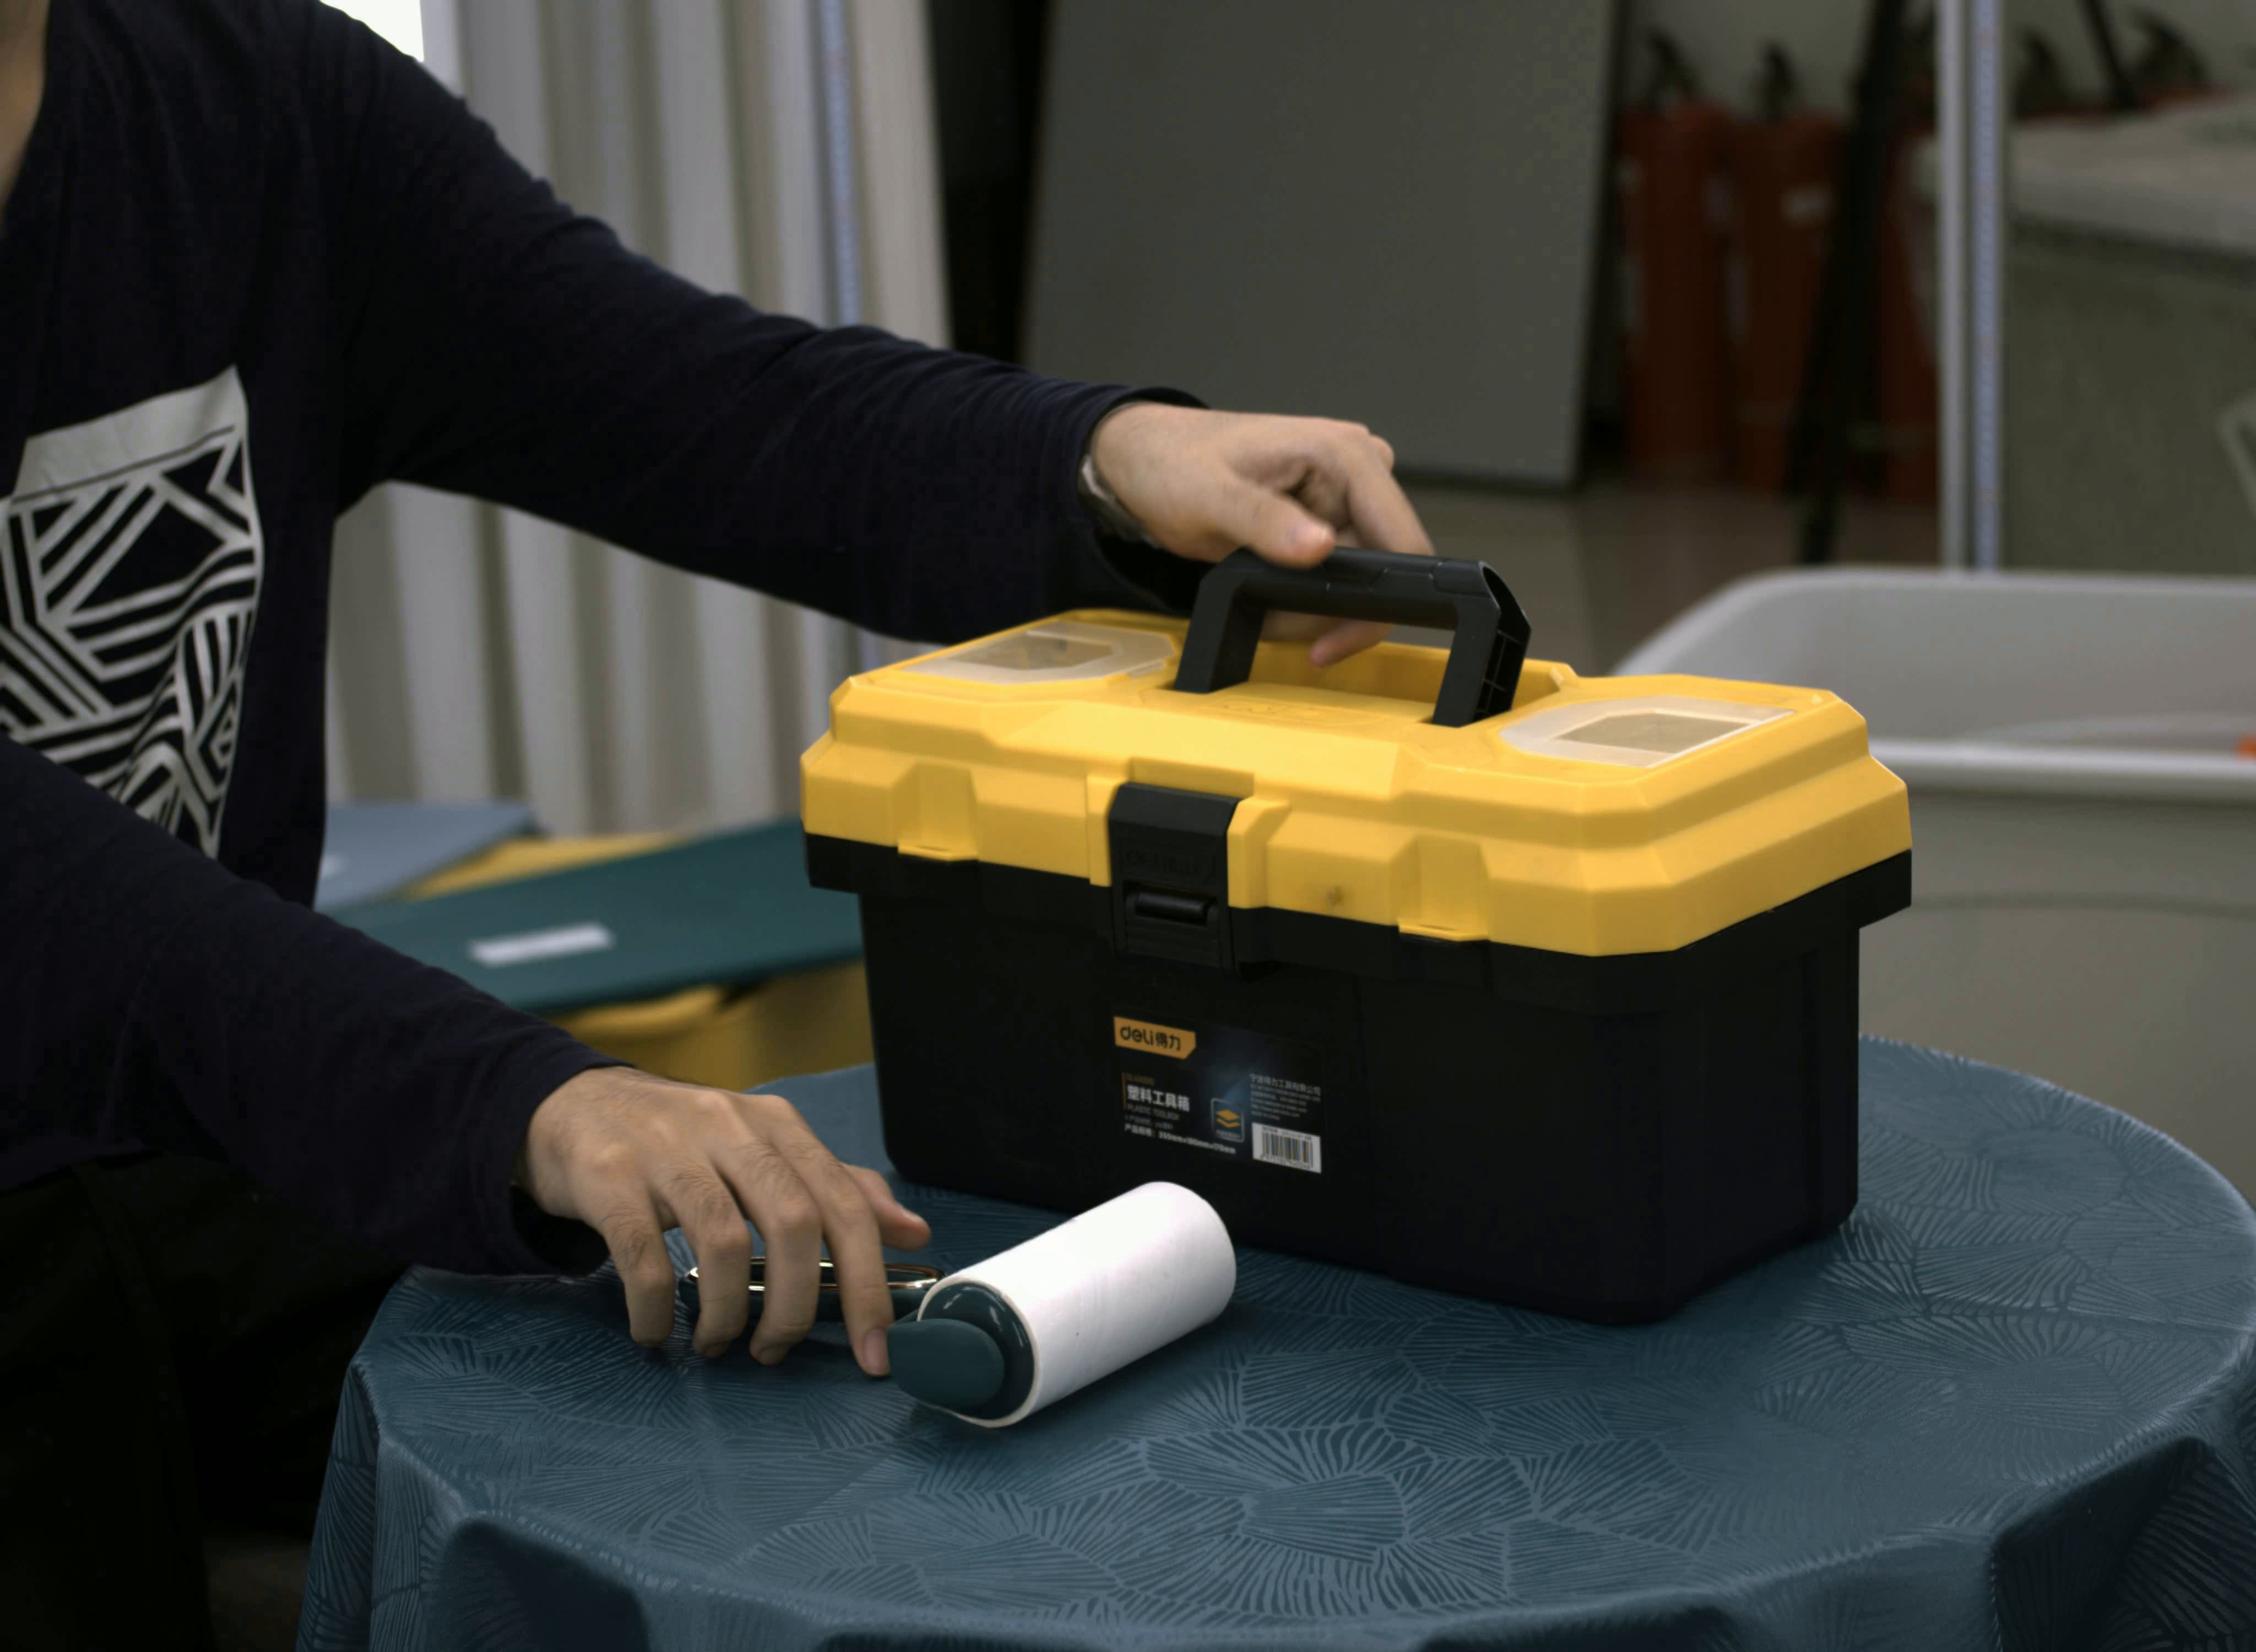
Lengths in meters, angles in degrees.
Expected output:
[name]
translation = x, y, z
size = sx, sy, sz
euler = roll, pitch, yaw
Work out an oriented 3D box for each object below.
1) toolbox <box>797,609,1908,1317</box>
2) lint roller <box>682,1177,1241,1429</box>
[toolbox]
translation = 0.067, 0.038, 1.728
size = 0.354, 0.175, 0.178
euler = 7, 16, 40
[lint roller]
translation = -0.068, 0.139, 1.637
size = 0.181, 0.049, 0.132
euler = 1, 15, 38
